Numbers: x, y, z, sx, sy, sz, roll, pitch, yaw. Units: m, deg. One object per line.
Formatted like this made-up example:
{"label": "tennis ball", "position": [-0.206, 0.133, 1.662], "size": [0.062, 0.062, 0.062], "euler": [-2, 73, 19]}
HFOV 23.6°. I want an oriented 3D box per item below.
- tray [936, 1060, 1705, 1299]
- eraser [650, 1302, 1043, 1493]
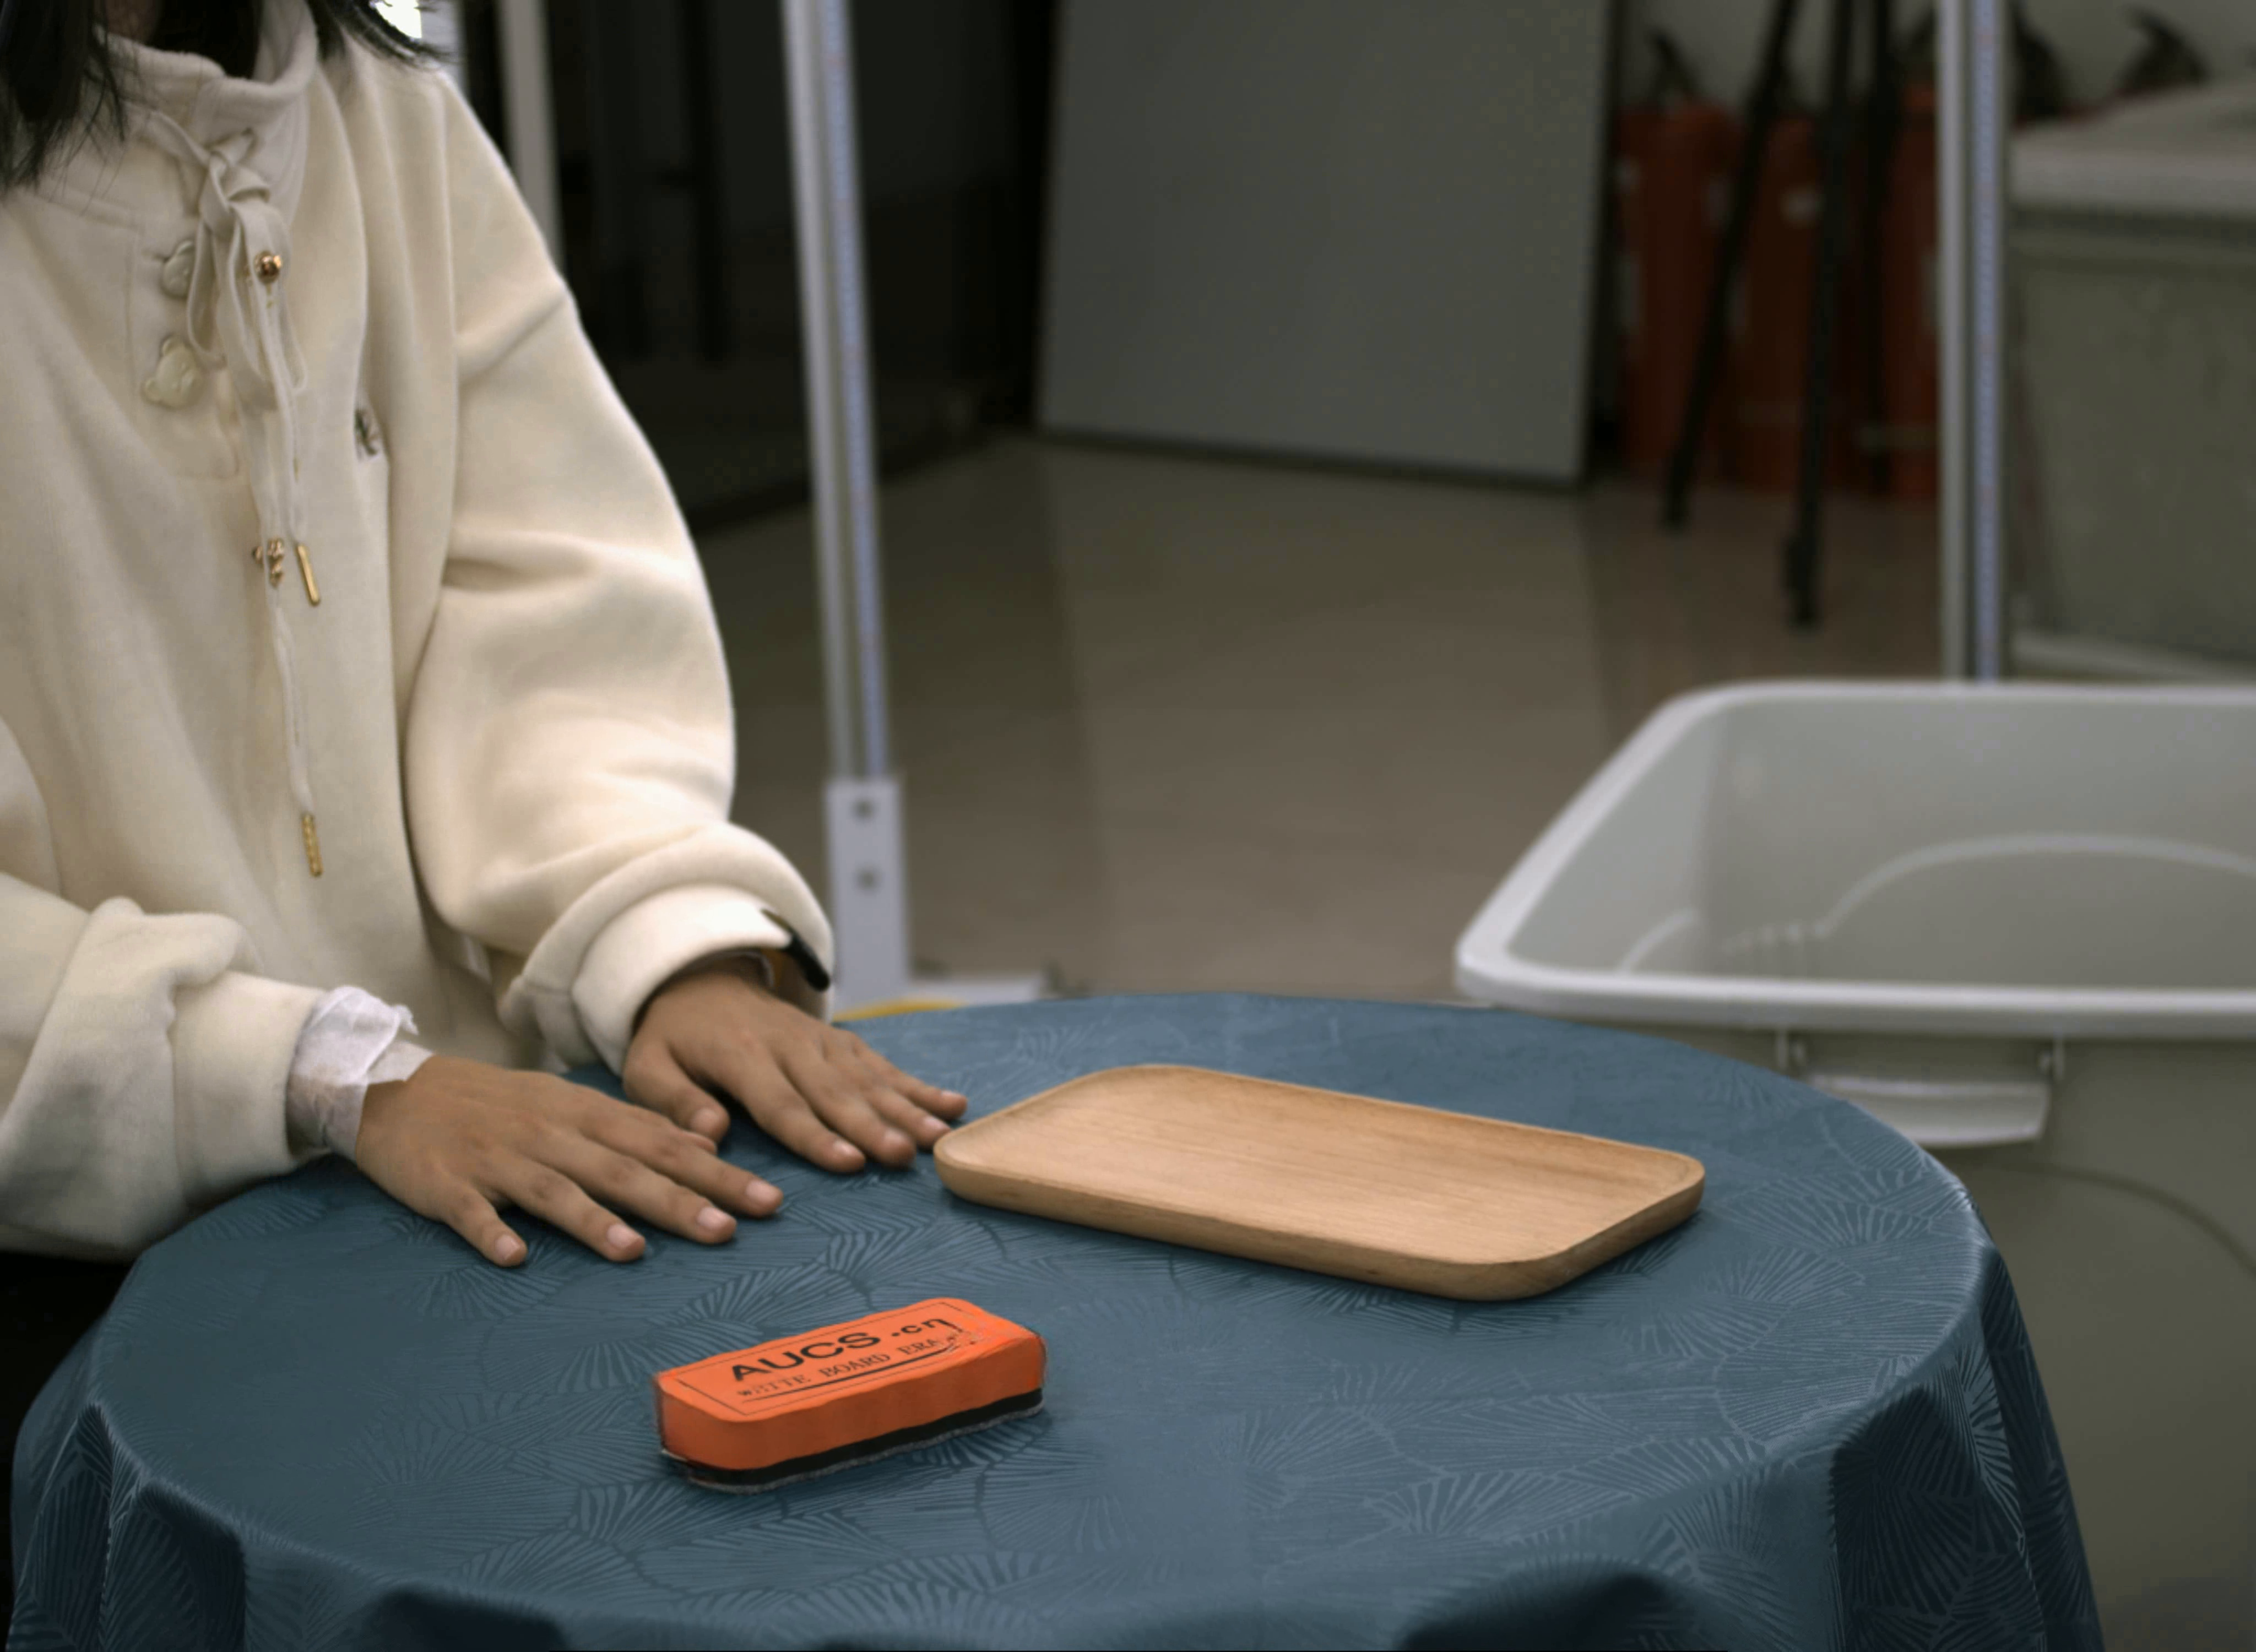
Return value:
{"label": "tray", "position": [0.060, 0.113, 1.747], "size": [0.253, 0.023, 0.128], "euler": [7, 15, 41]}
{"label": "eraser", "position": [-0.081, 0.165, 1.565], "size": [0.105, 0.023, 0.059], "euler": [-12, 16, -30]}
